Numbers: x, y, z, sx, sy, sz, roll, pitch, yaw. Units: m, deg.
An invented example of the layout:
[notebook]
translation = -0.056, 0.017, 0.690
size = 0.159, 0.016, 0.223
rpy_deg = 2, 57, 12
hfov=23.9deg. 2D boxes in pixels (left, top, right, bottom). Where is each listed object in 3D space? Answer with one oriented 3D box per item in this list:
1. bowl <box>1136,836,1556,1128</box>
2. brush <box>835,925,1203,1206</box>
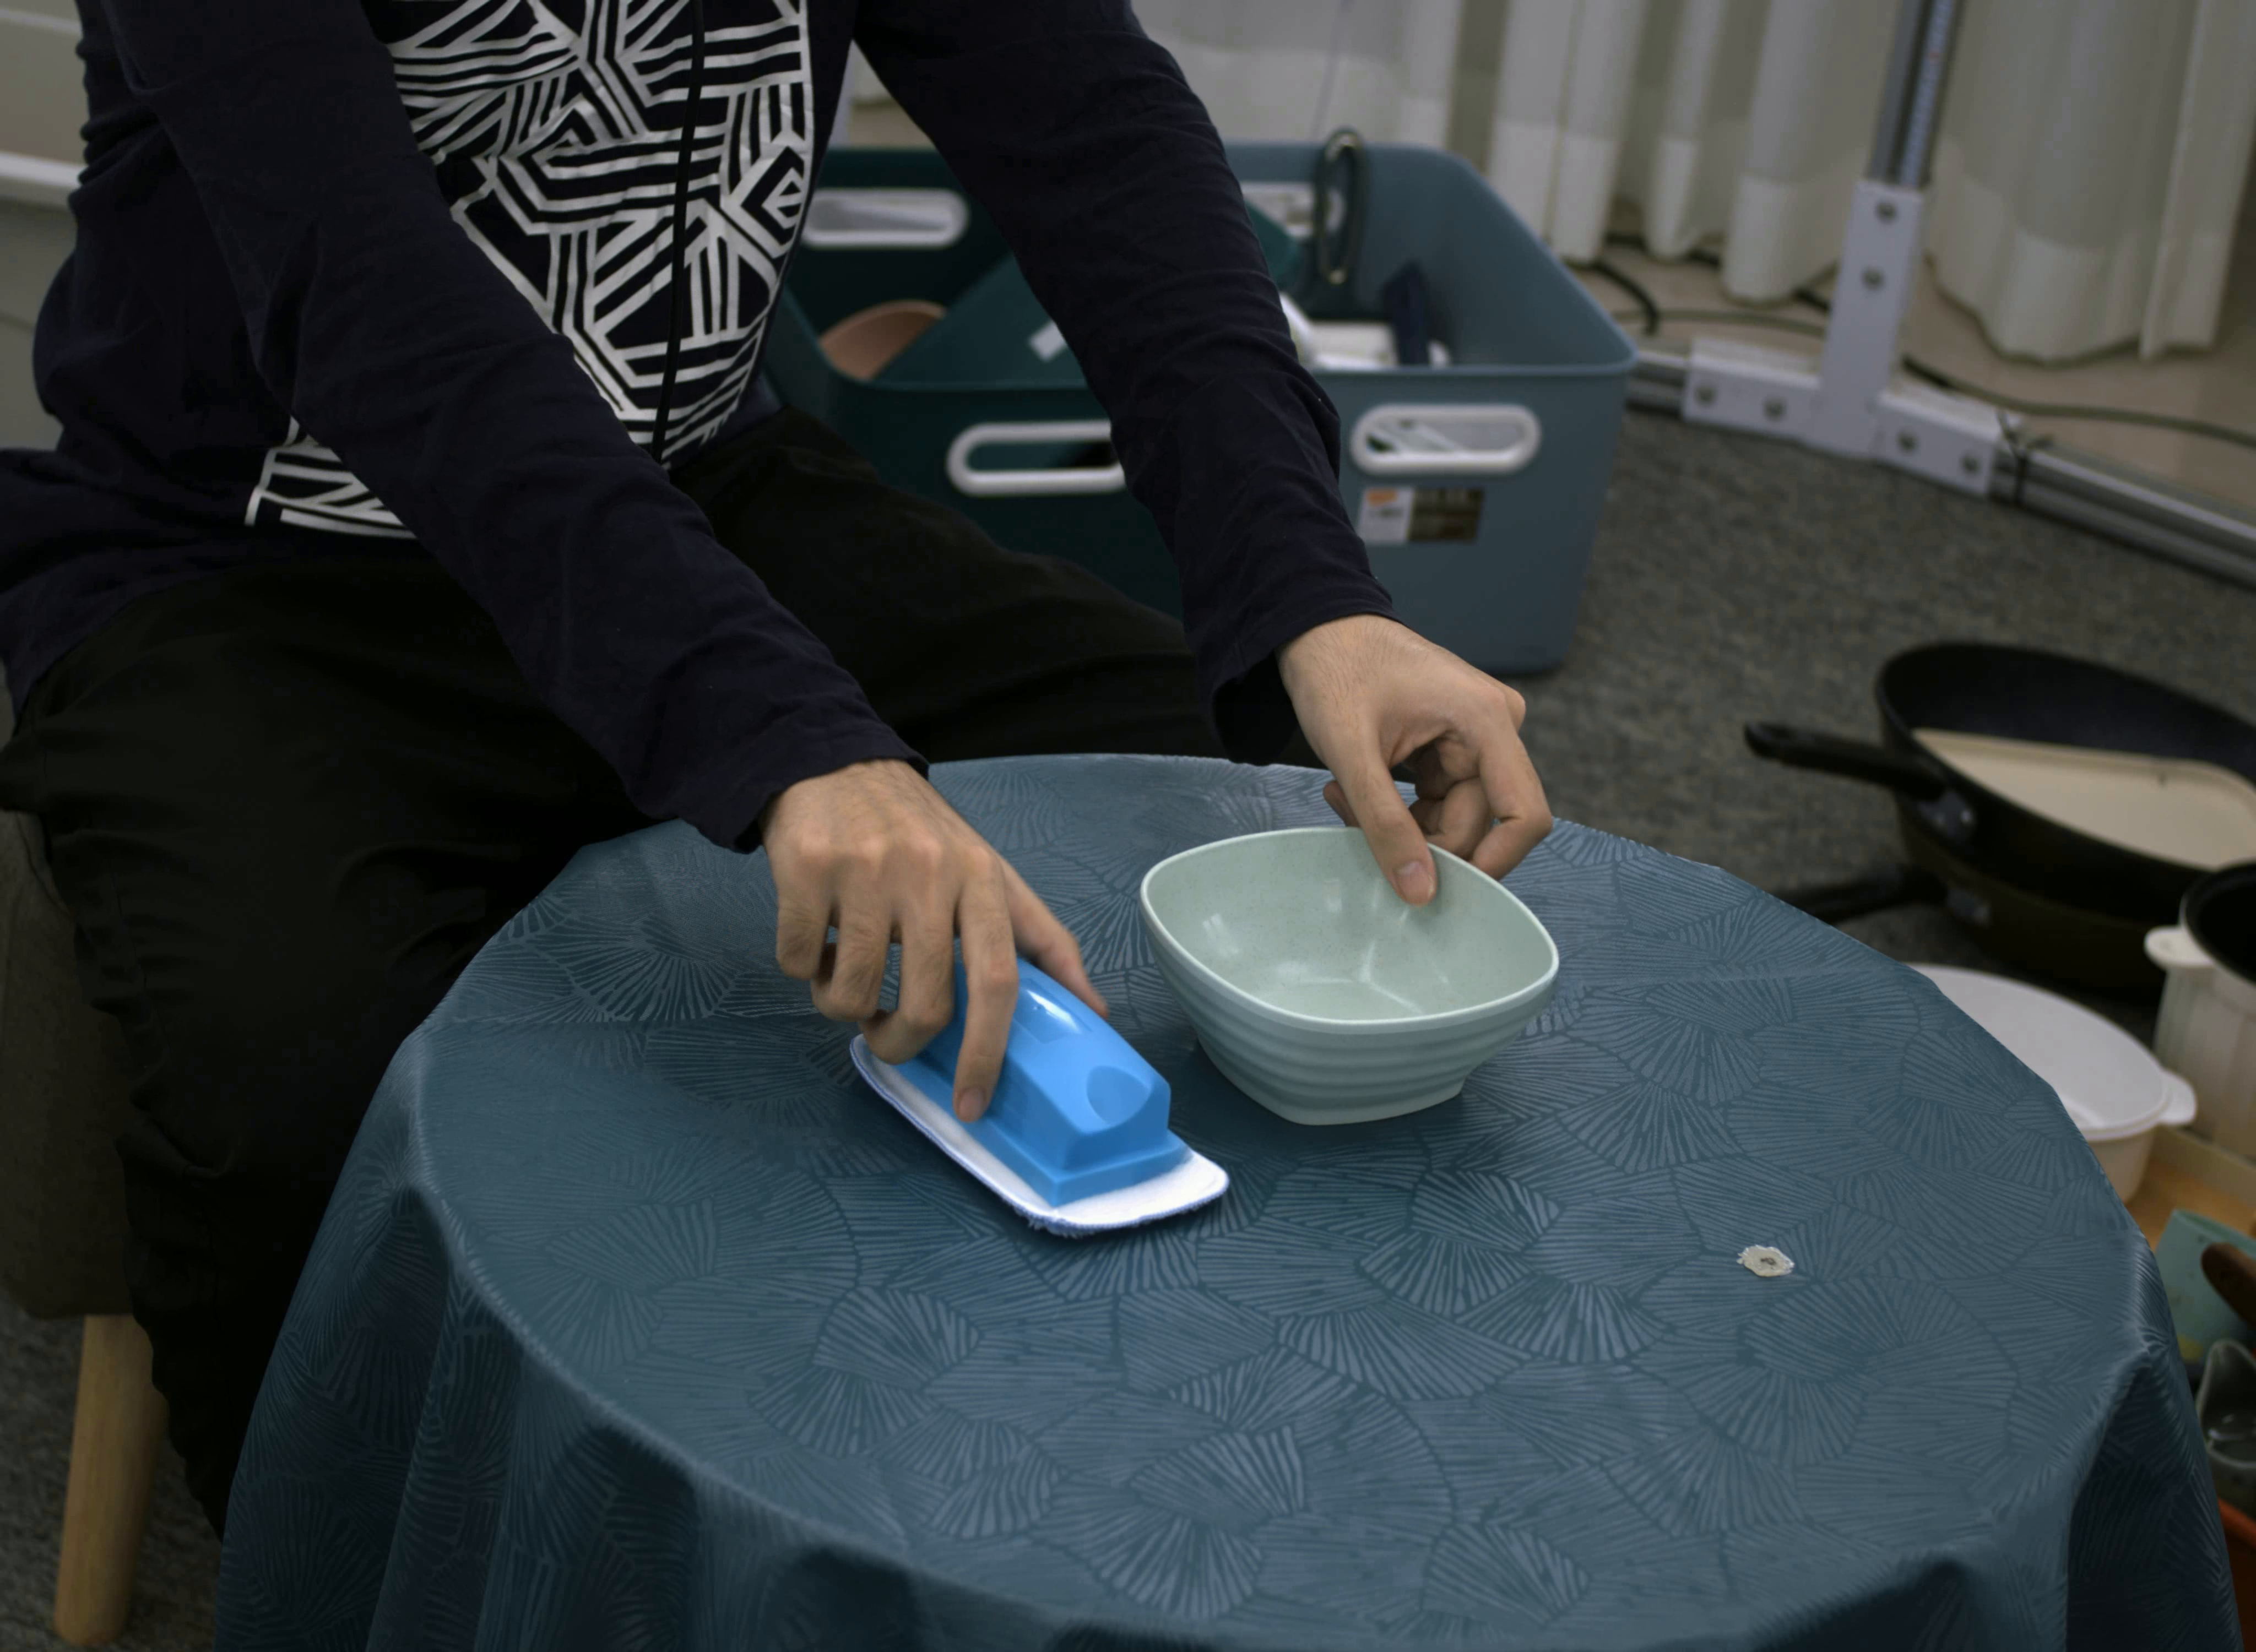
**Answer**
[bowl]
translation = 0.074, 0.061, 1.889
size = 0.151, 0.058, 0.152
rpy_deg = 6, 25, -3
[brush]
translation = -0.035, 0.078, 1.822
size = 0.083, 0.056, 0.145
rpy_deg = -6, 31, -32
